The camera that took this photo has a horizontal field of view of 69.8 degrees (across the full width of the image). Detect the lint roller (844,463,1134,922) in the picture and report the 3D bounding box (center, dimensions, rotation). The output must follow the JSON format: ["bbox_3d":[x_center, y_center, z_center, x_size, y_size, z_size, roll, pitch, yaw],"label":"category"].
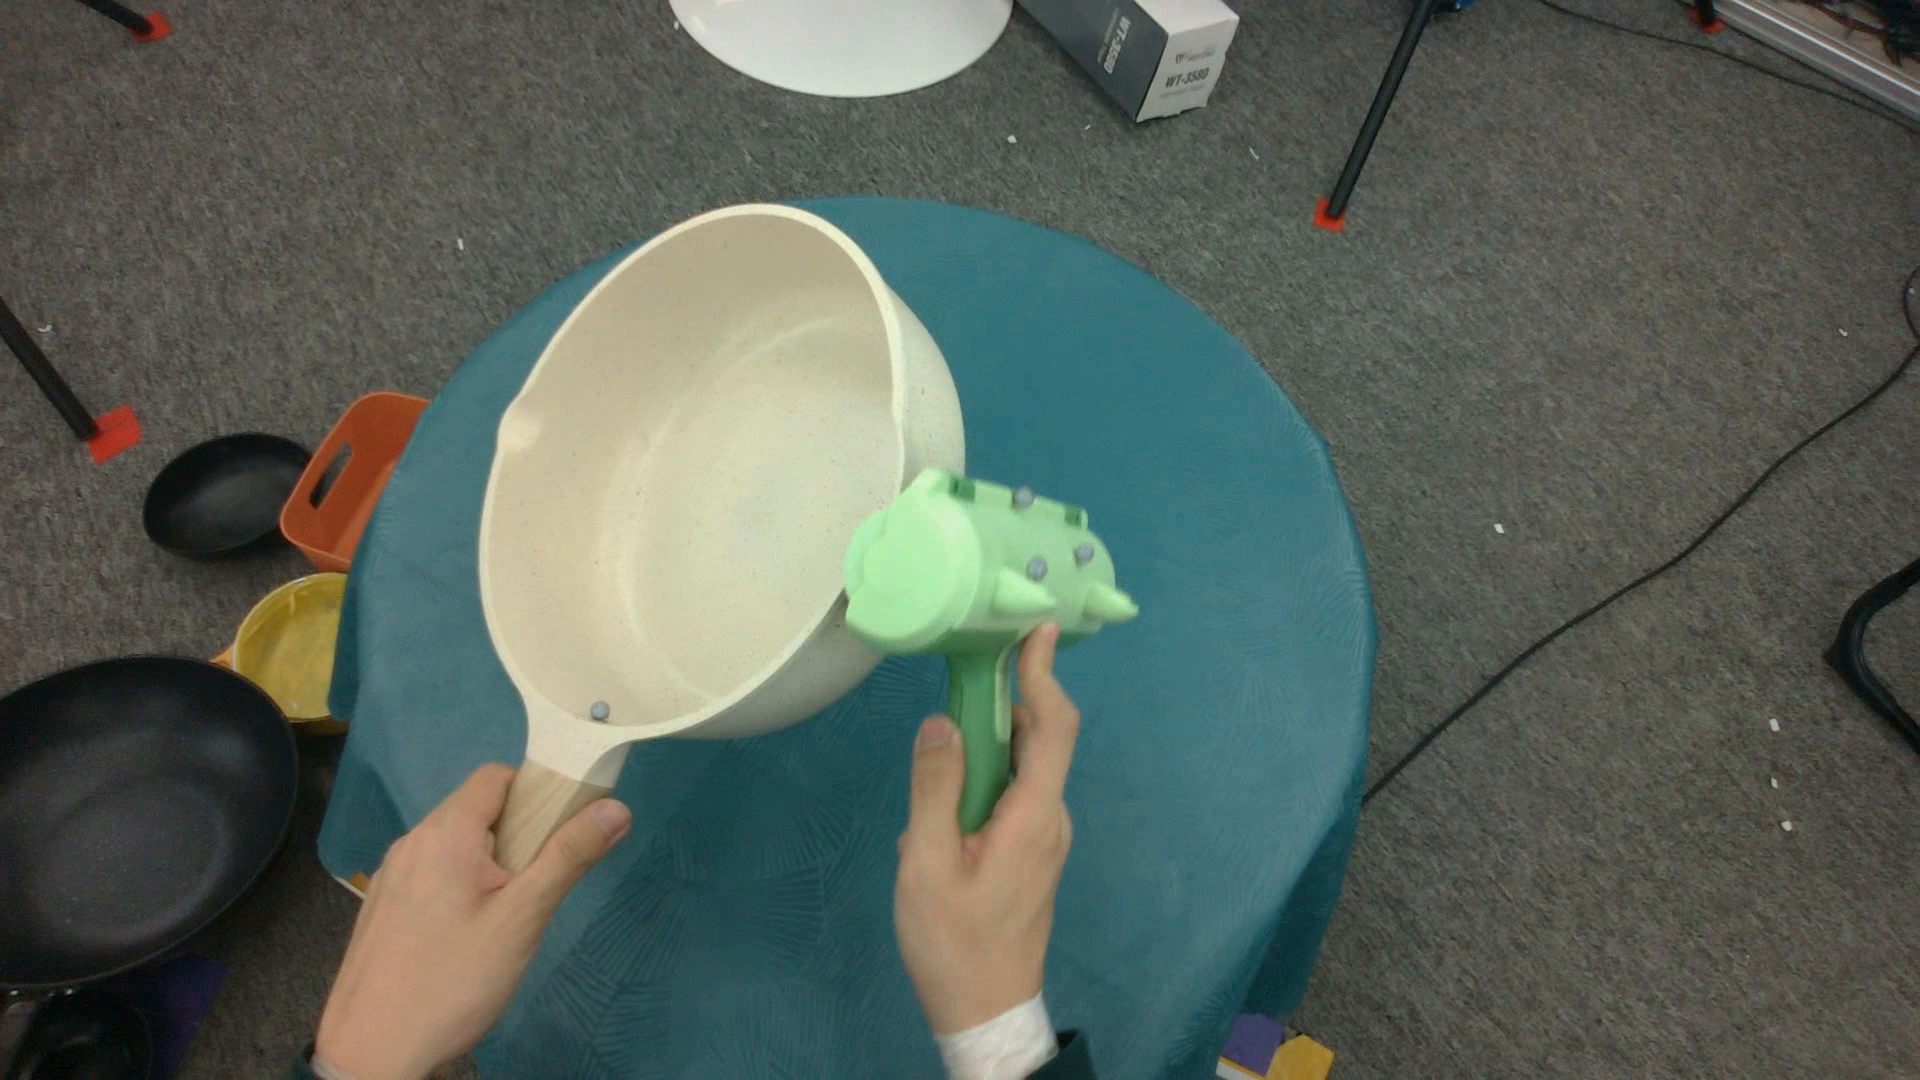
[{"bbox_3d":[0.022,0.068,0.580,0.082,0.199,0.183,-5,85,21],"label":"lint roller"}]

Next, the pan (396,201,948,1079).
[{"bbox_3d":[-0.146,0.059,0.628,0.263,0.102,0.435,12,80,33],"label":"pan"}]
